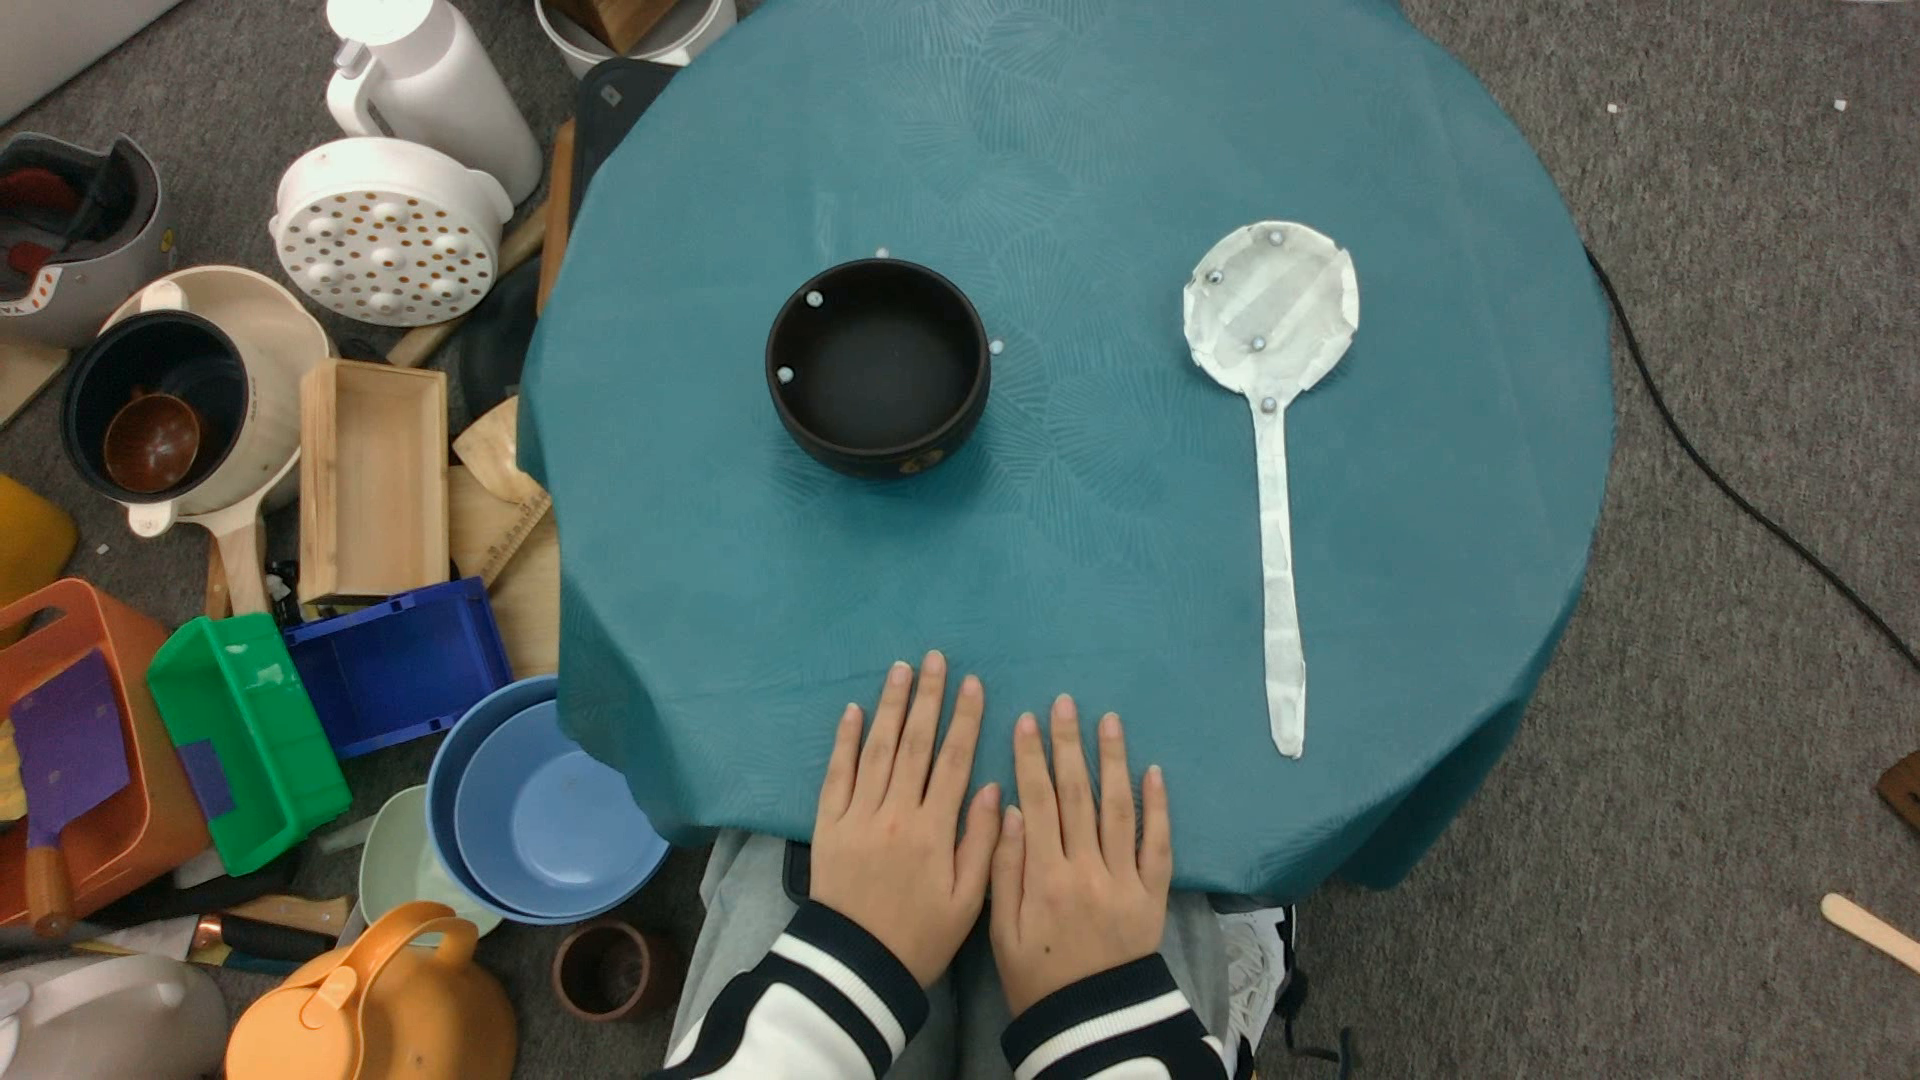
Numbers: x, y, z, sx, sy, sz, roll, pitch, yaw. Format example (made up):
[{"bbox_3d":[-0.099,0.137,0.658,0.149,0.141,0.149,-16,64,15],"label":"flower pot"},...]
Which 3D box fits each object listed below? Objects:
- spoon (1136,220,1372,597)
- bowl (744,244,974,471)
[{"bbox_3d":[0.194,-0.068,0.814,0.100,0.277,0.059,-26,41,14],"label":"spoon"},{"bbox_3d":[-0.051,-0.090,0.732,0.118,0.069,0.118,-1,71,2],"label":"bowl"}]
